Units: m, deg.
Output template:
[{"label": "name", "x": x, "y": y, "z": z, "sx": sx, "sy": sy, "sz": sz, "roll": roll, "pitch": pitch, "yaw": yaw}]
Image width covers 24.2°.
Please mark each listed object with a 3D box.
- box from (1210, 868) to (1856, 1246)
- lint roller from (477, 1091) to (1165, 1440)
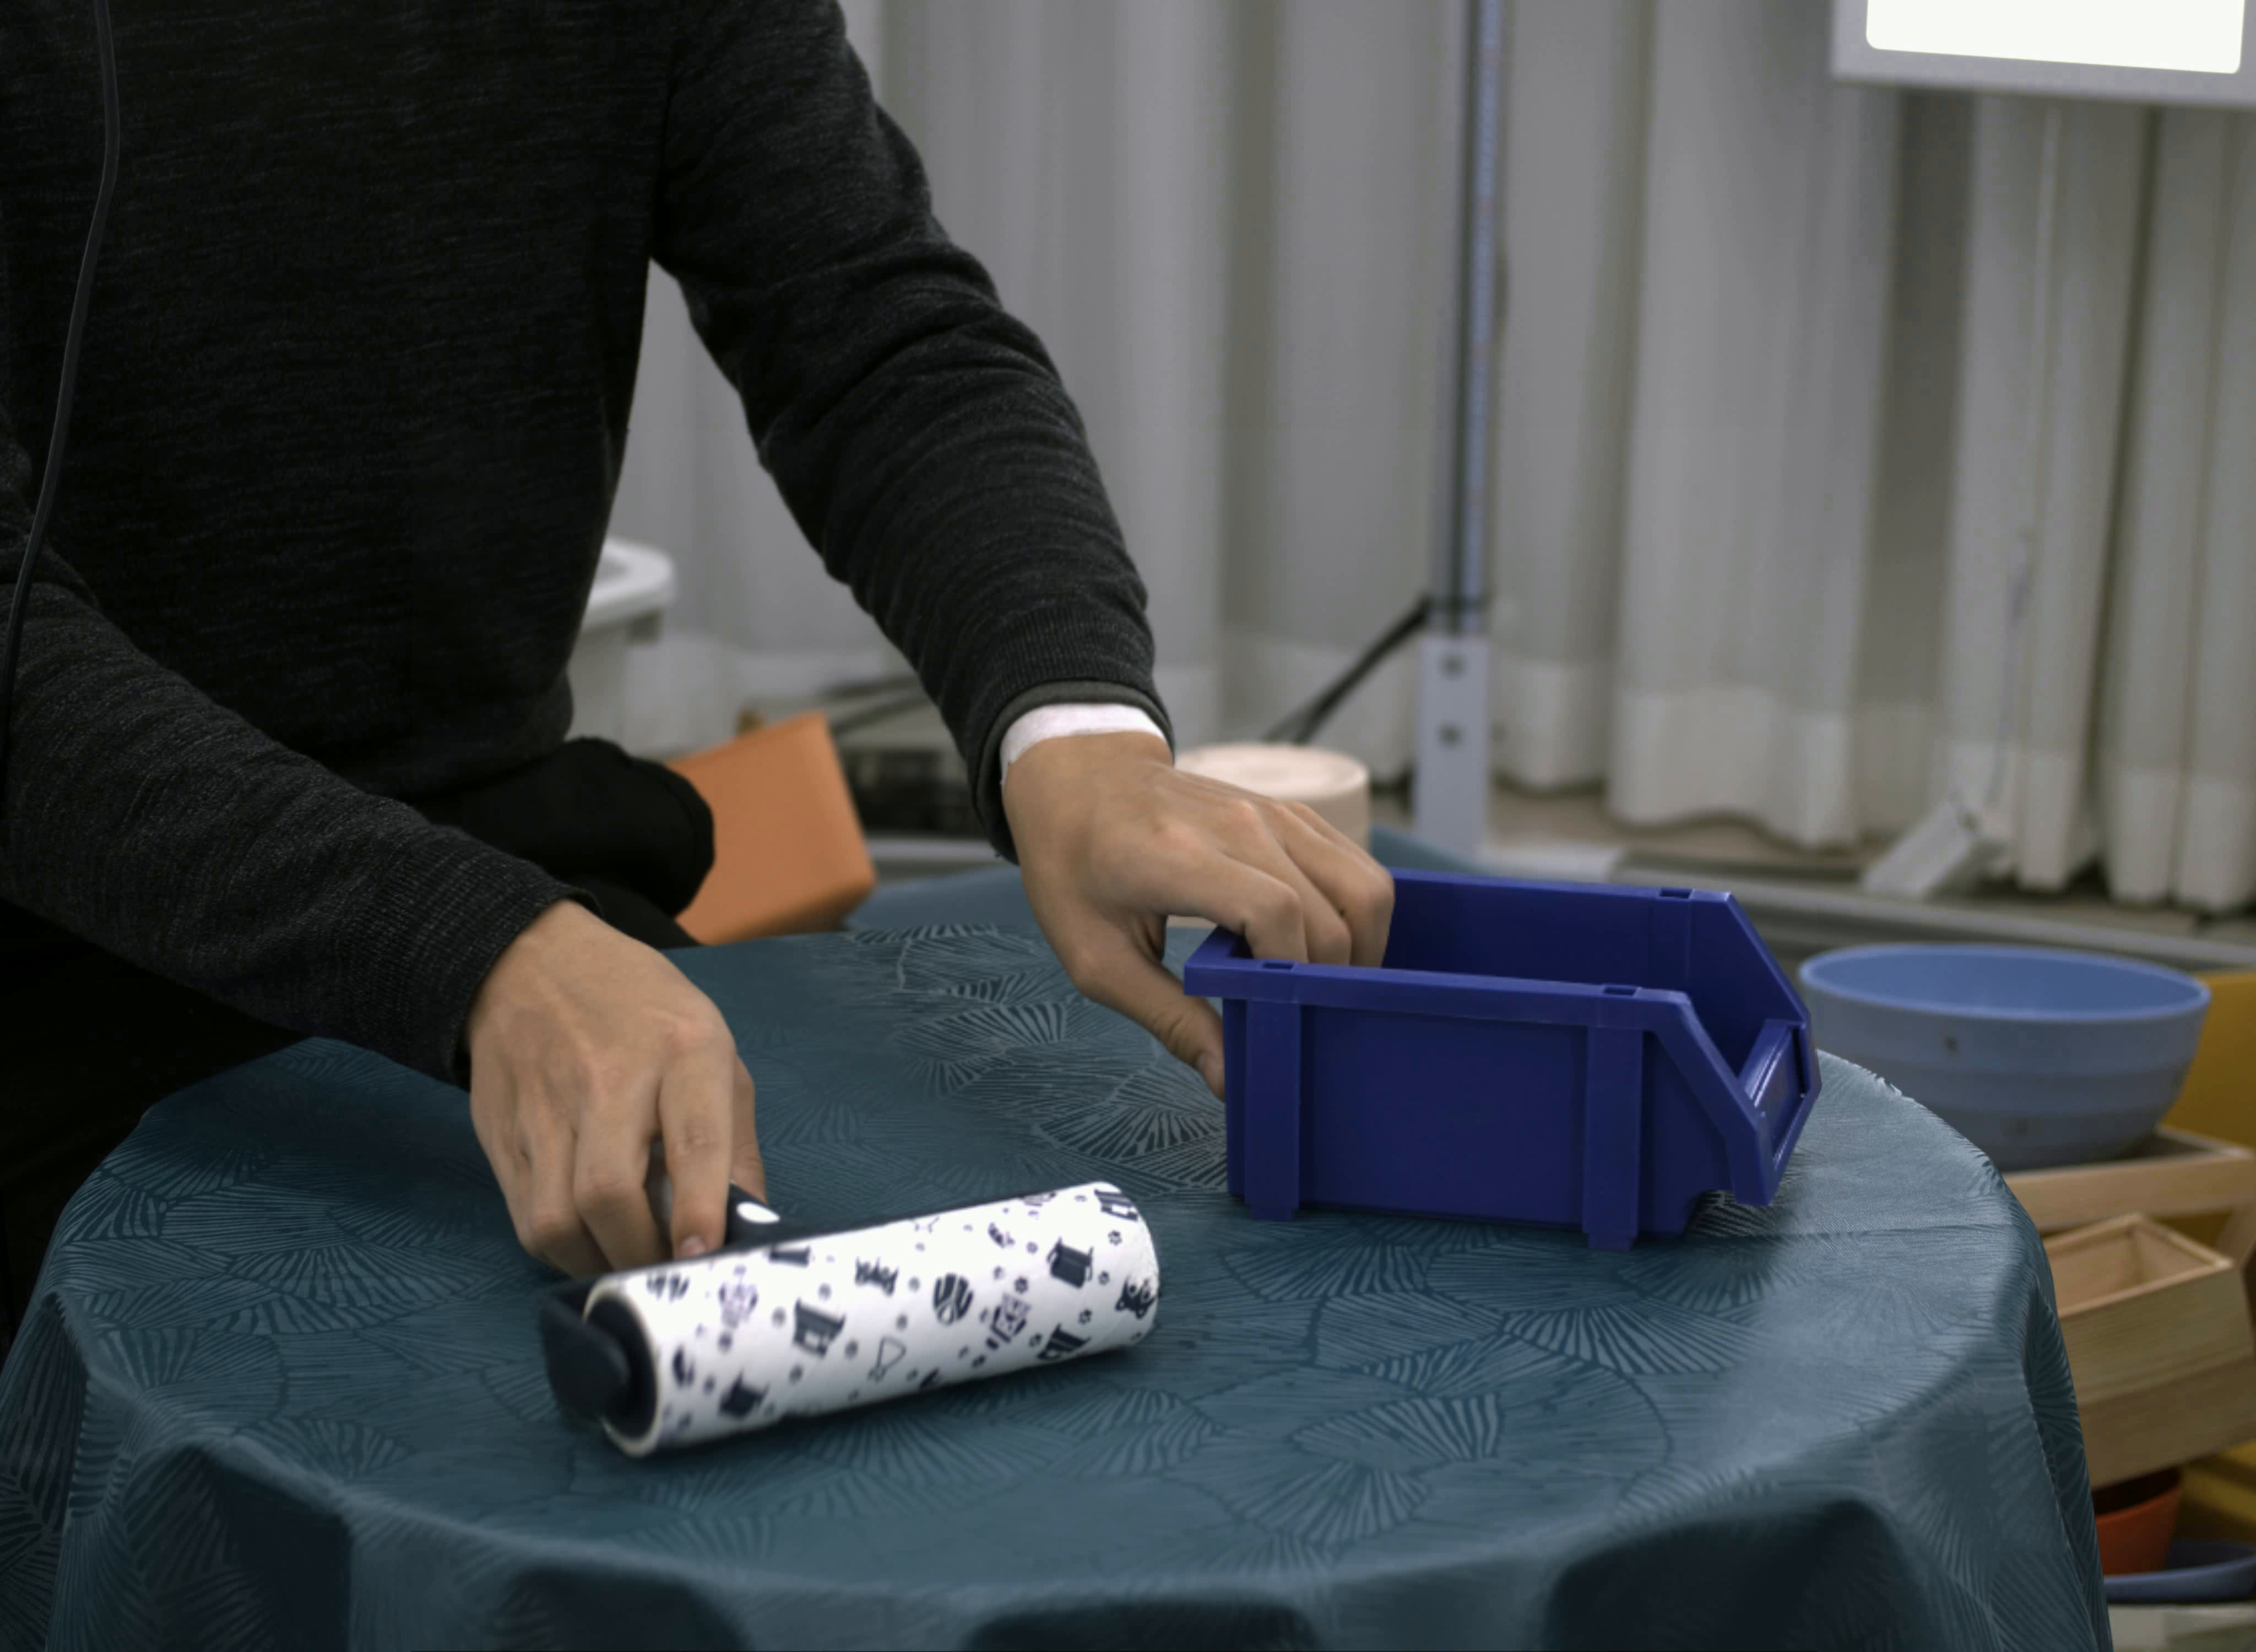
[{"label": "box", "x": 0.128, "y": 0.069, "z": 1.626, "sx": 0.178, "sy": 0.082, "sz": 0.124, "roll": 2, "pitch": 15, "yaw": 15}, {"label": "lint roller", "x": -0.127, "y": 0.110, "z": 1.525, "sx": 0.177, "sy": 0.051, "sz": 0.244, "roll": -9, "pitch": 18, "yaw": -34}]
